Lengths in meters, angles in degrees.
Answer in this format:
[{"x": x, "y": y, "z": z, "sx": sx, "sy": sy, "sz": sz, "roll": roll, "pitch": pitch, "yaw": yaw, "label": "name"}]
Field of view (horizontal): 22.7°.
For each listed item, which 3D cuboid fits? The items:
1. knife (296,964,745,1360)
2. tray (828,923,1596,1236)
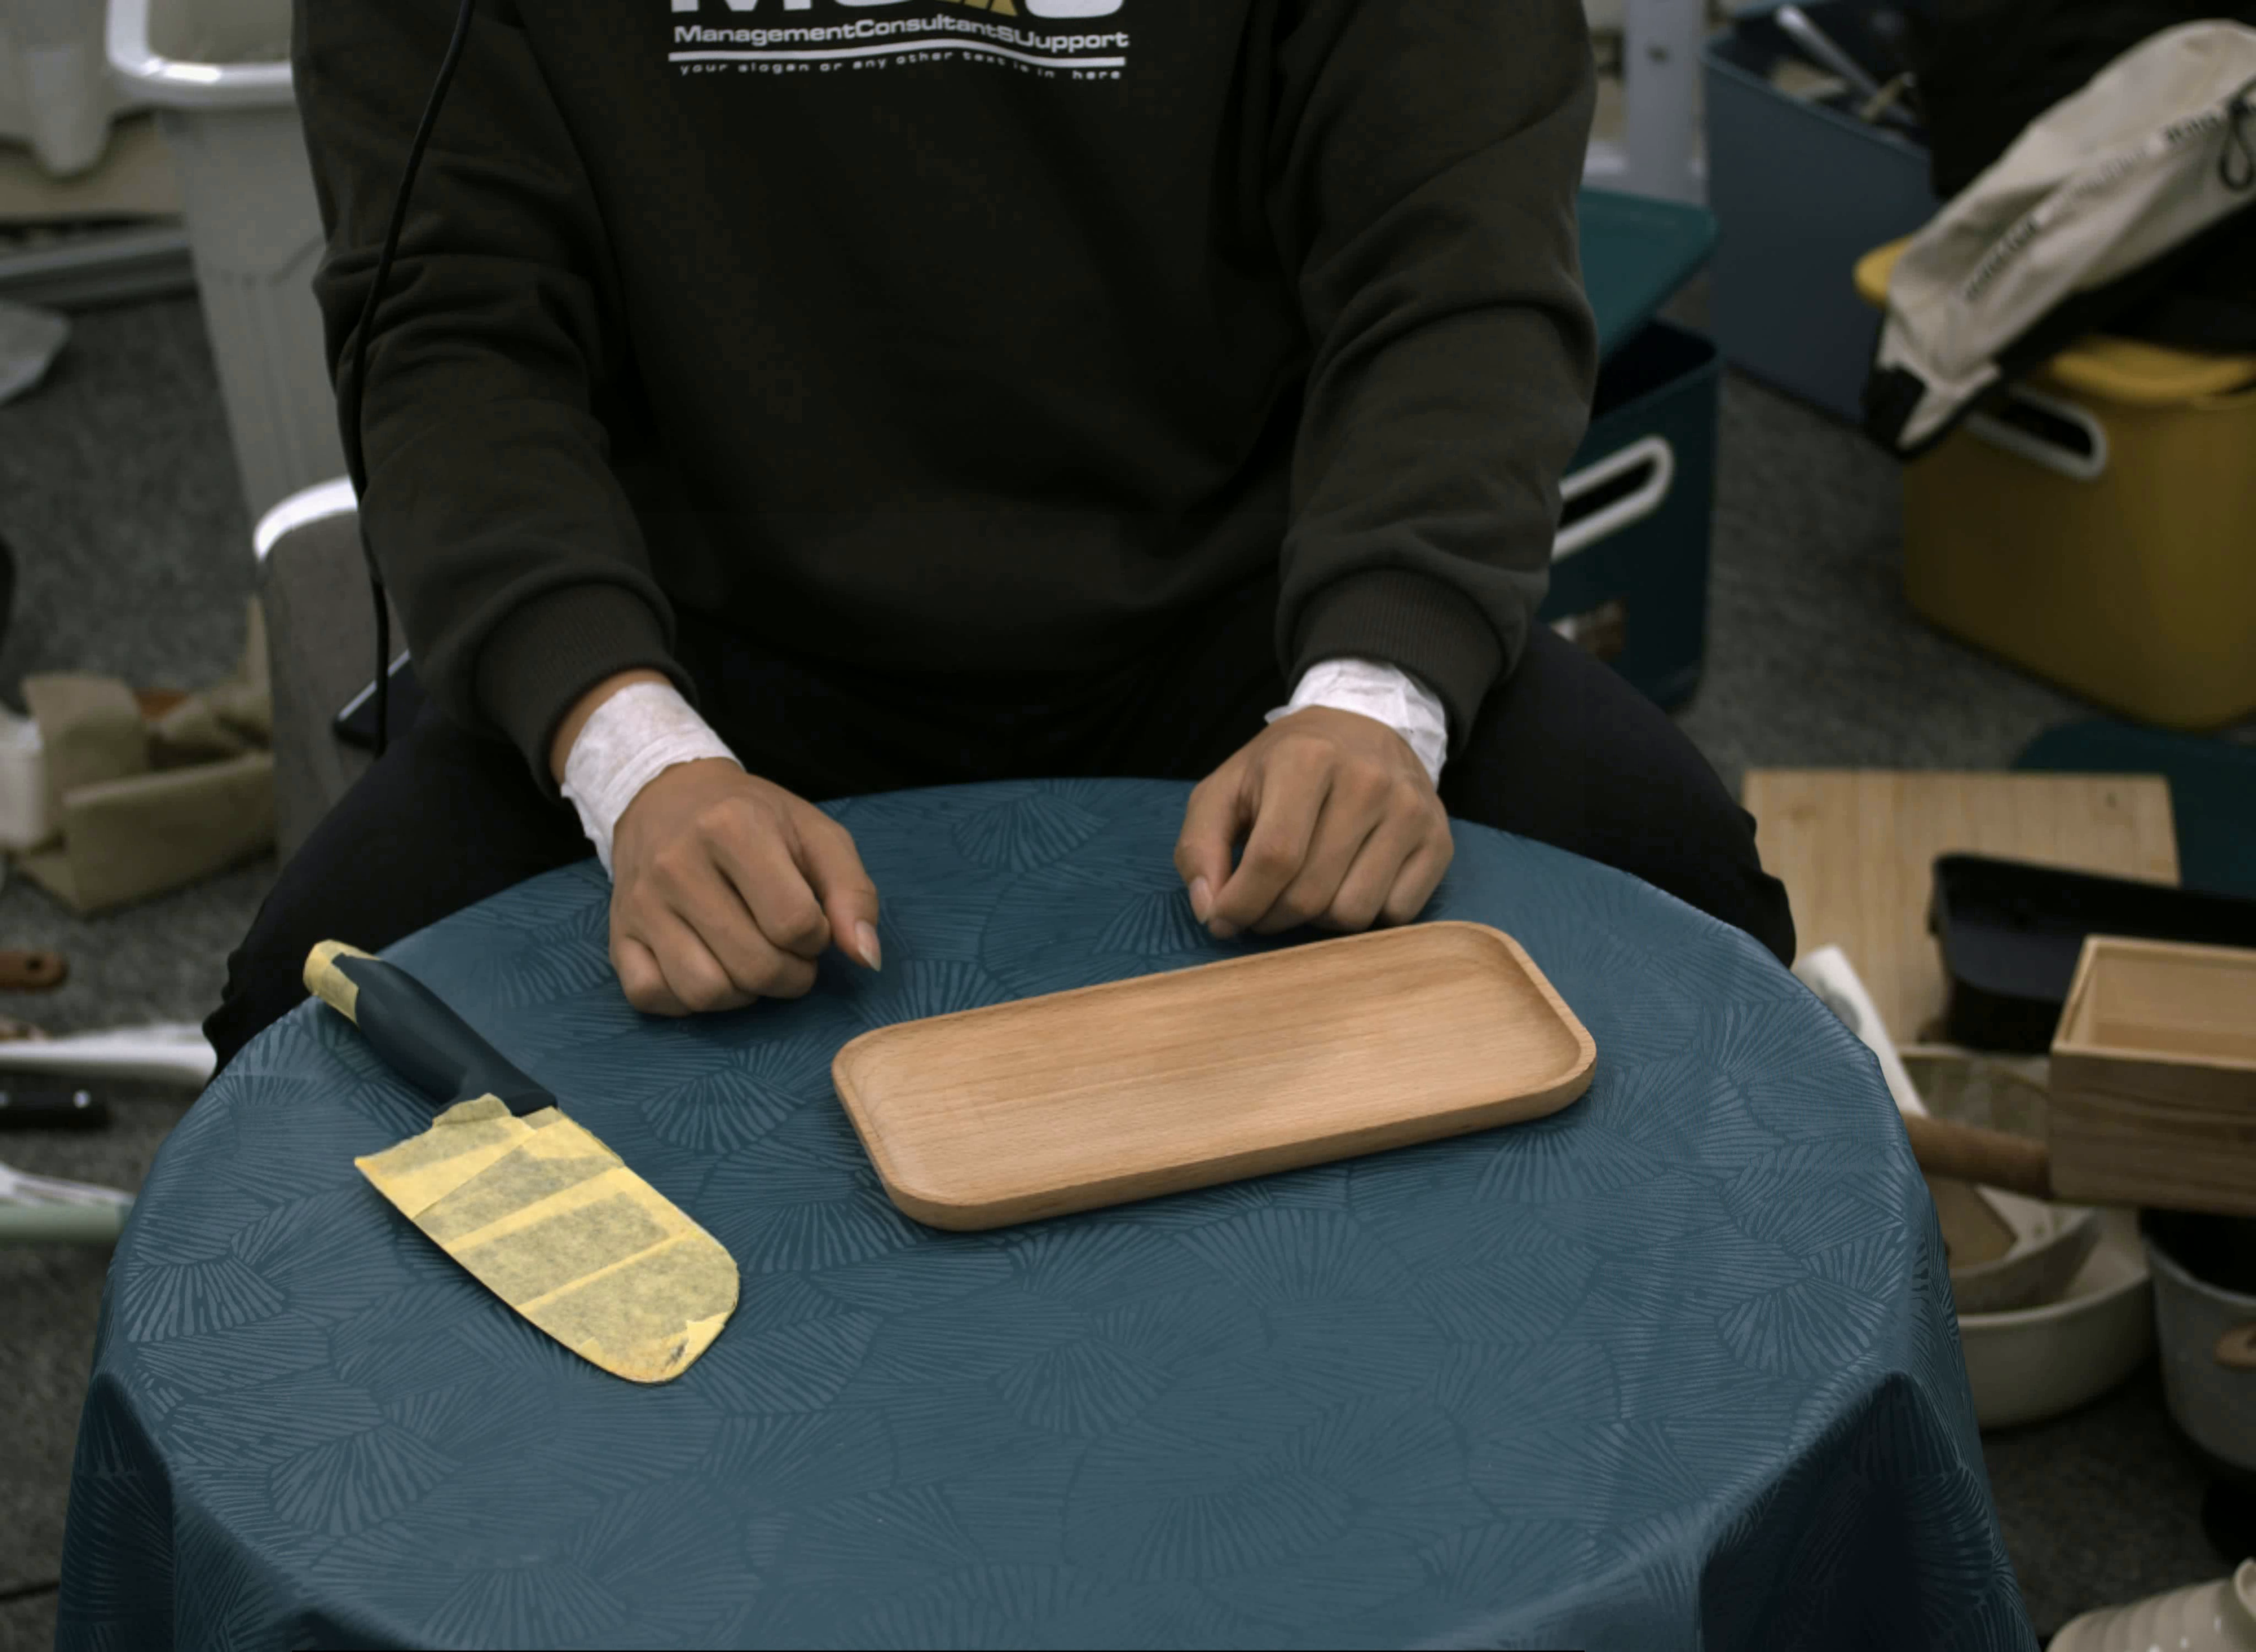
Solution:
[{"x": -0.216, "y": 0.113, "z": 1.882, "sx": 0.081, "sy": 0.027, "sz": 0.290, "roll": -17, "pitch": 31, "yaw": -29, "label": "knife"}, {"x": 0.028, "y": 0.086, "z": 1.911, "sx": 0.251, "sy": 0.022, "sz": 0.131, "roll": -11, "pitch": 25, "yaw": -14, "label": "tray"}]
